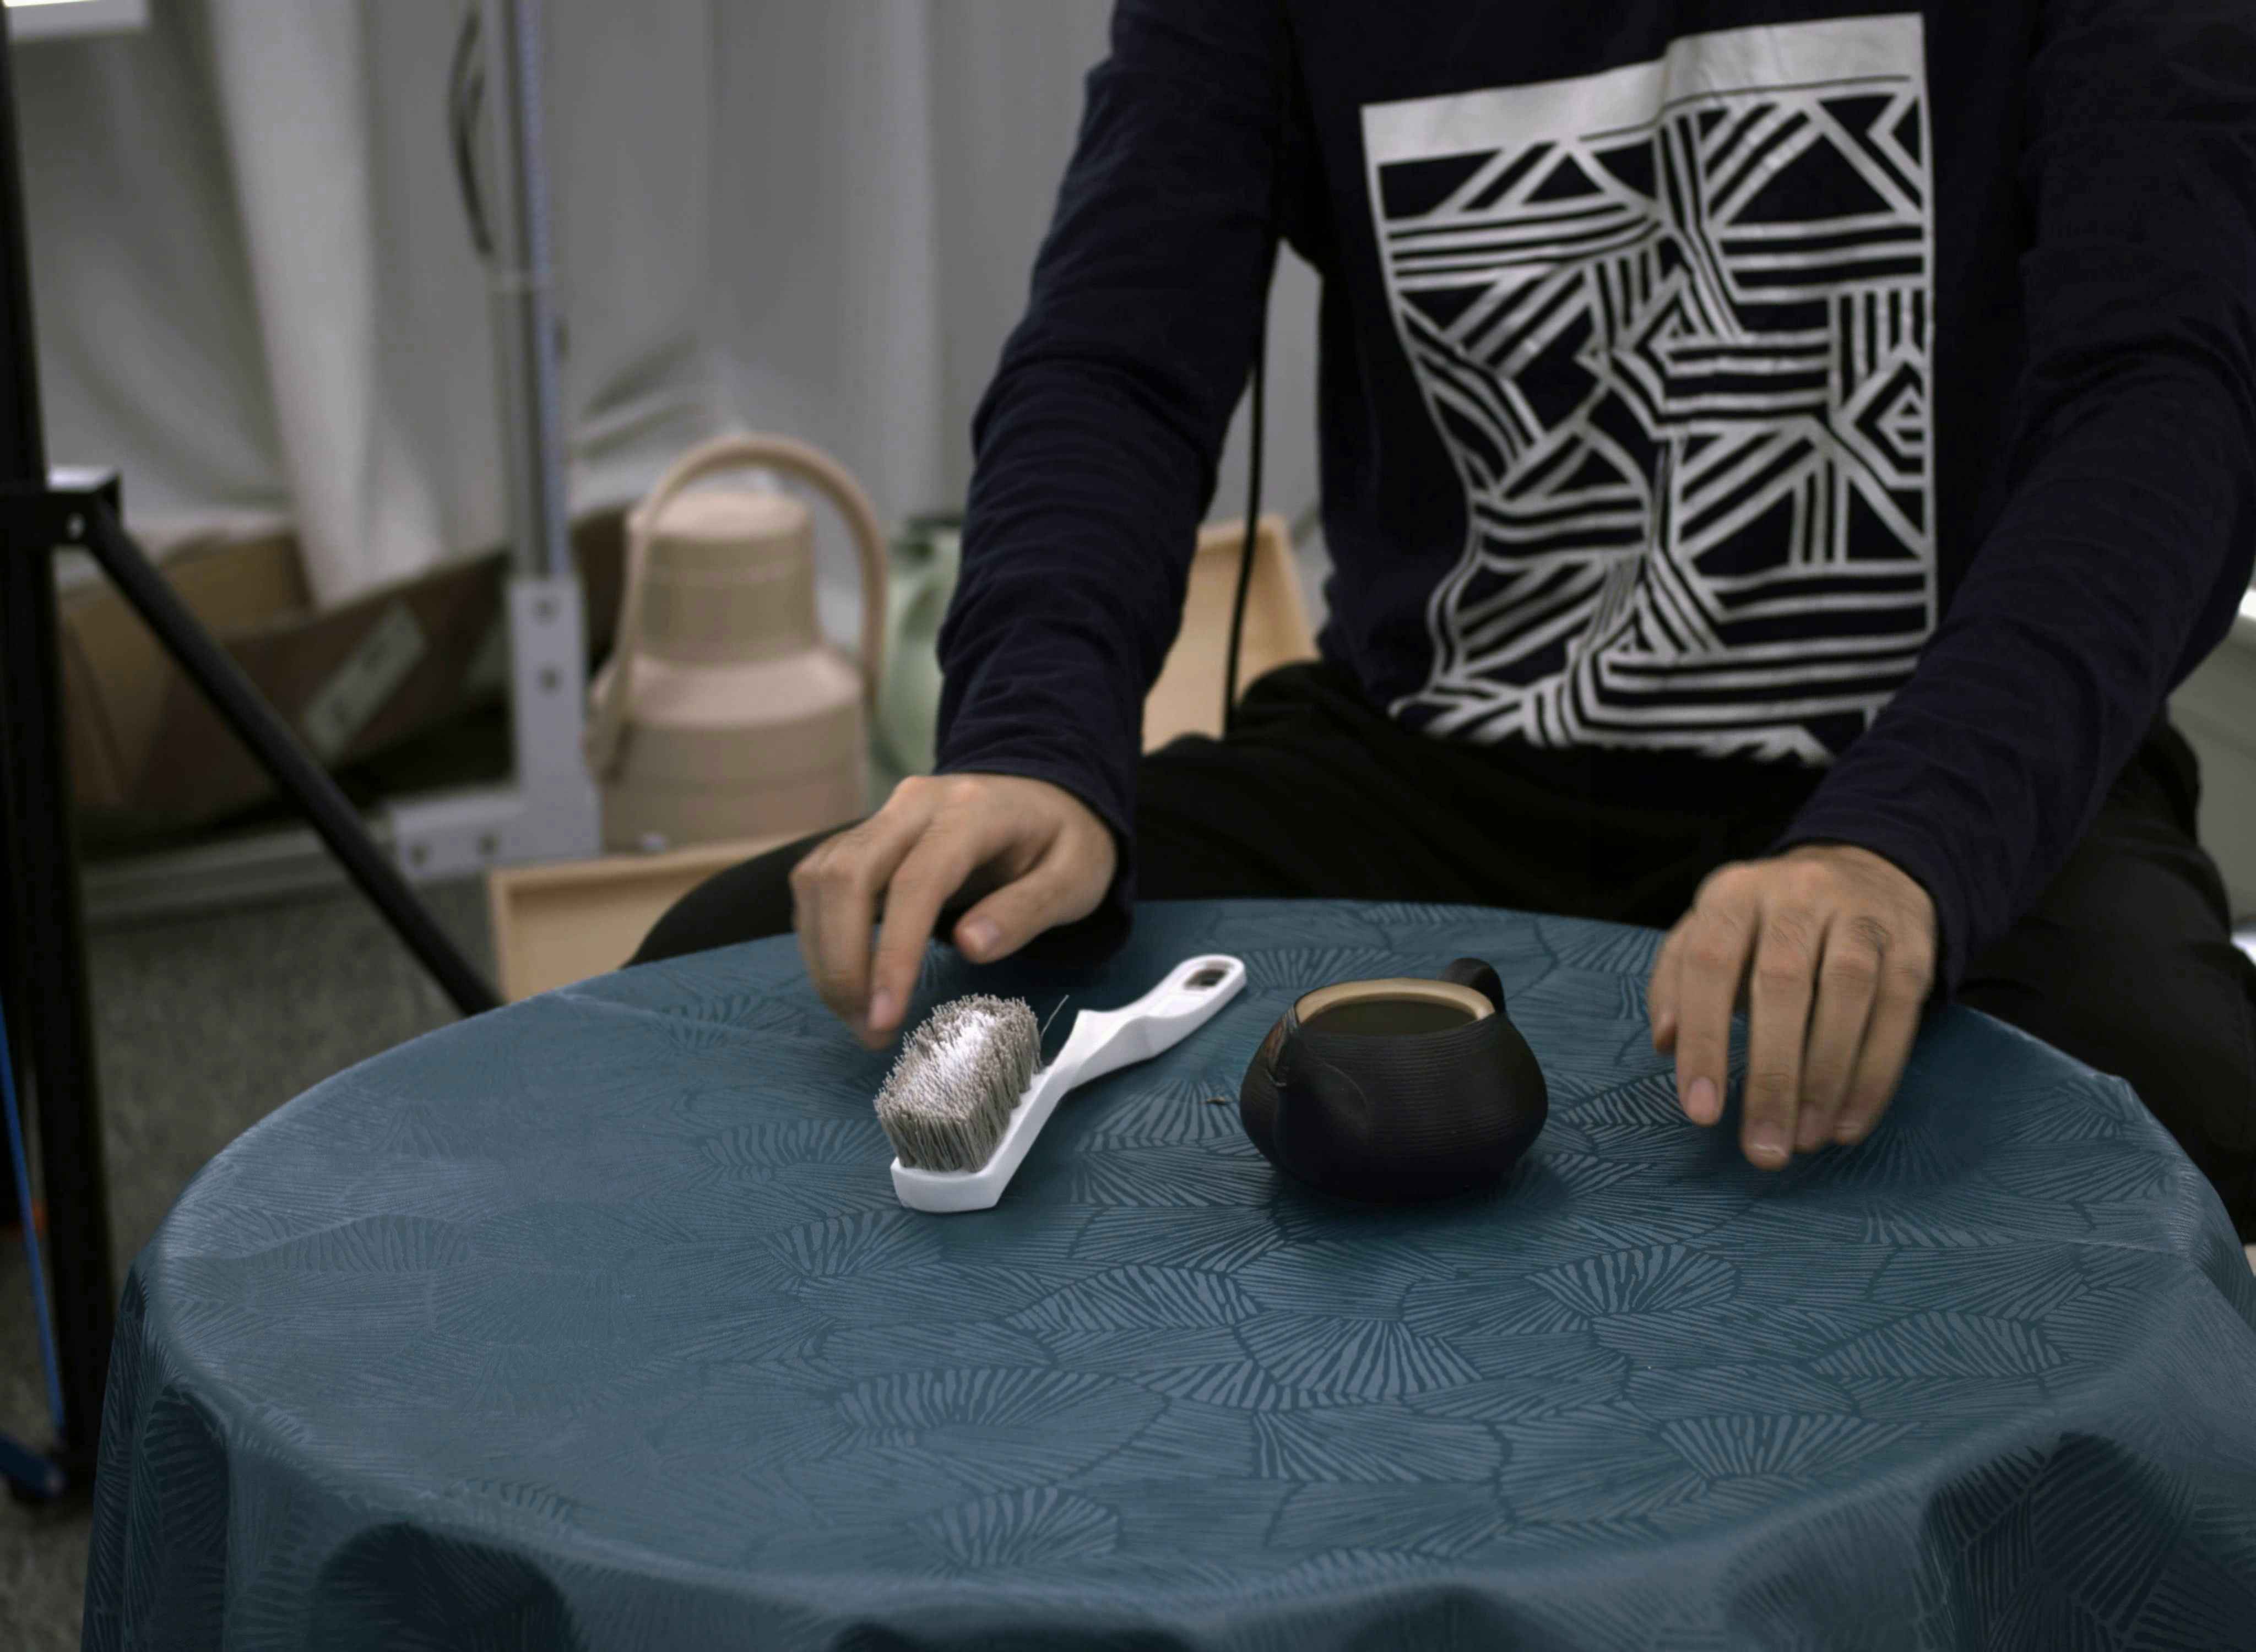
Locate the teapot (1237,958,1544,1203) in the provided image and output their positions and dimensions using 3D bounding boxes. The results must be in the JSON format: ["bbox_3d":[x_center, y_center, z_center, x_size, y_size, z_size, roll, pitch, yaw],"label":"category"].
[{"bbox_3d":[0.078,0.077,1.559,0.092,0.053,0.131,10,19,29],"label":"teapot"}]

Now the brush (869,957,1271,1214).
[{"bbox_3d":[-0.013,0.060,1.642,0.035,0.050,0.240,-1,16,26],"label":"brush"}]
